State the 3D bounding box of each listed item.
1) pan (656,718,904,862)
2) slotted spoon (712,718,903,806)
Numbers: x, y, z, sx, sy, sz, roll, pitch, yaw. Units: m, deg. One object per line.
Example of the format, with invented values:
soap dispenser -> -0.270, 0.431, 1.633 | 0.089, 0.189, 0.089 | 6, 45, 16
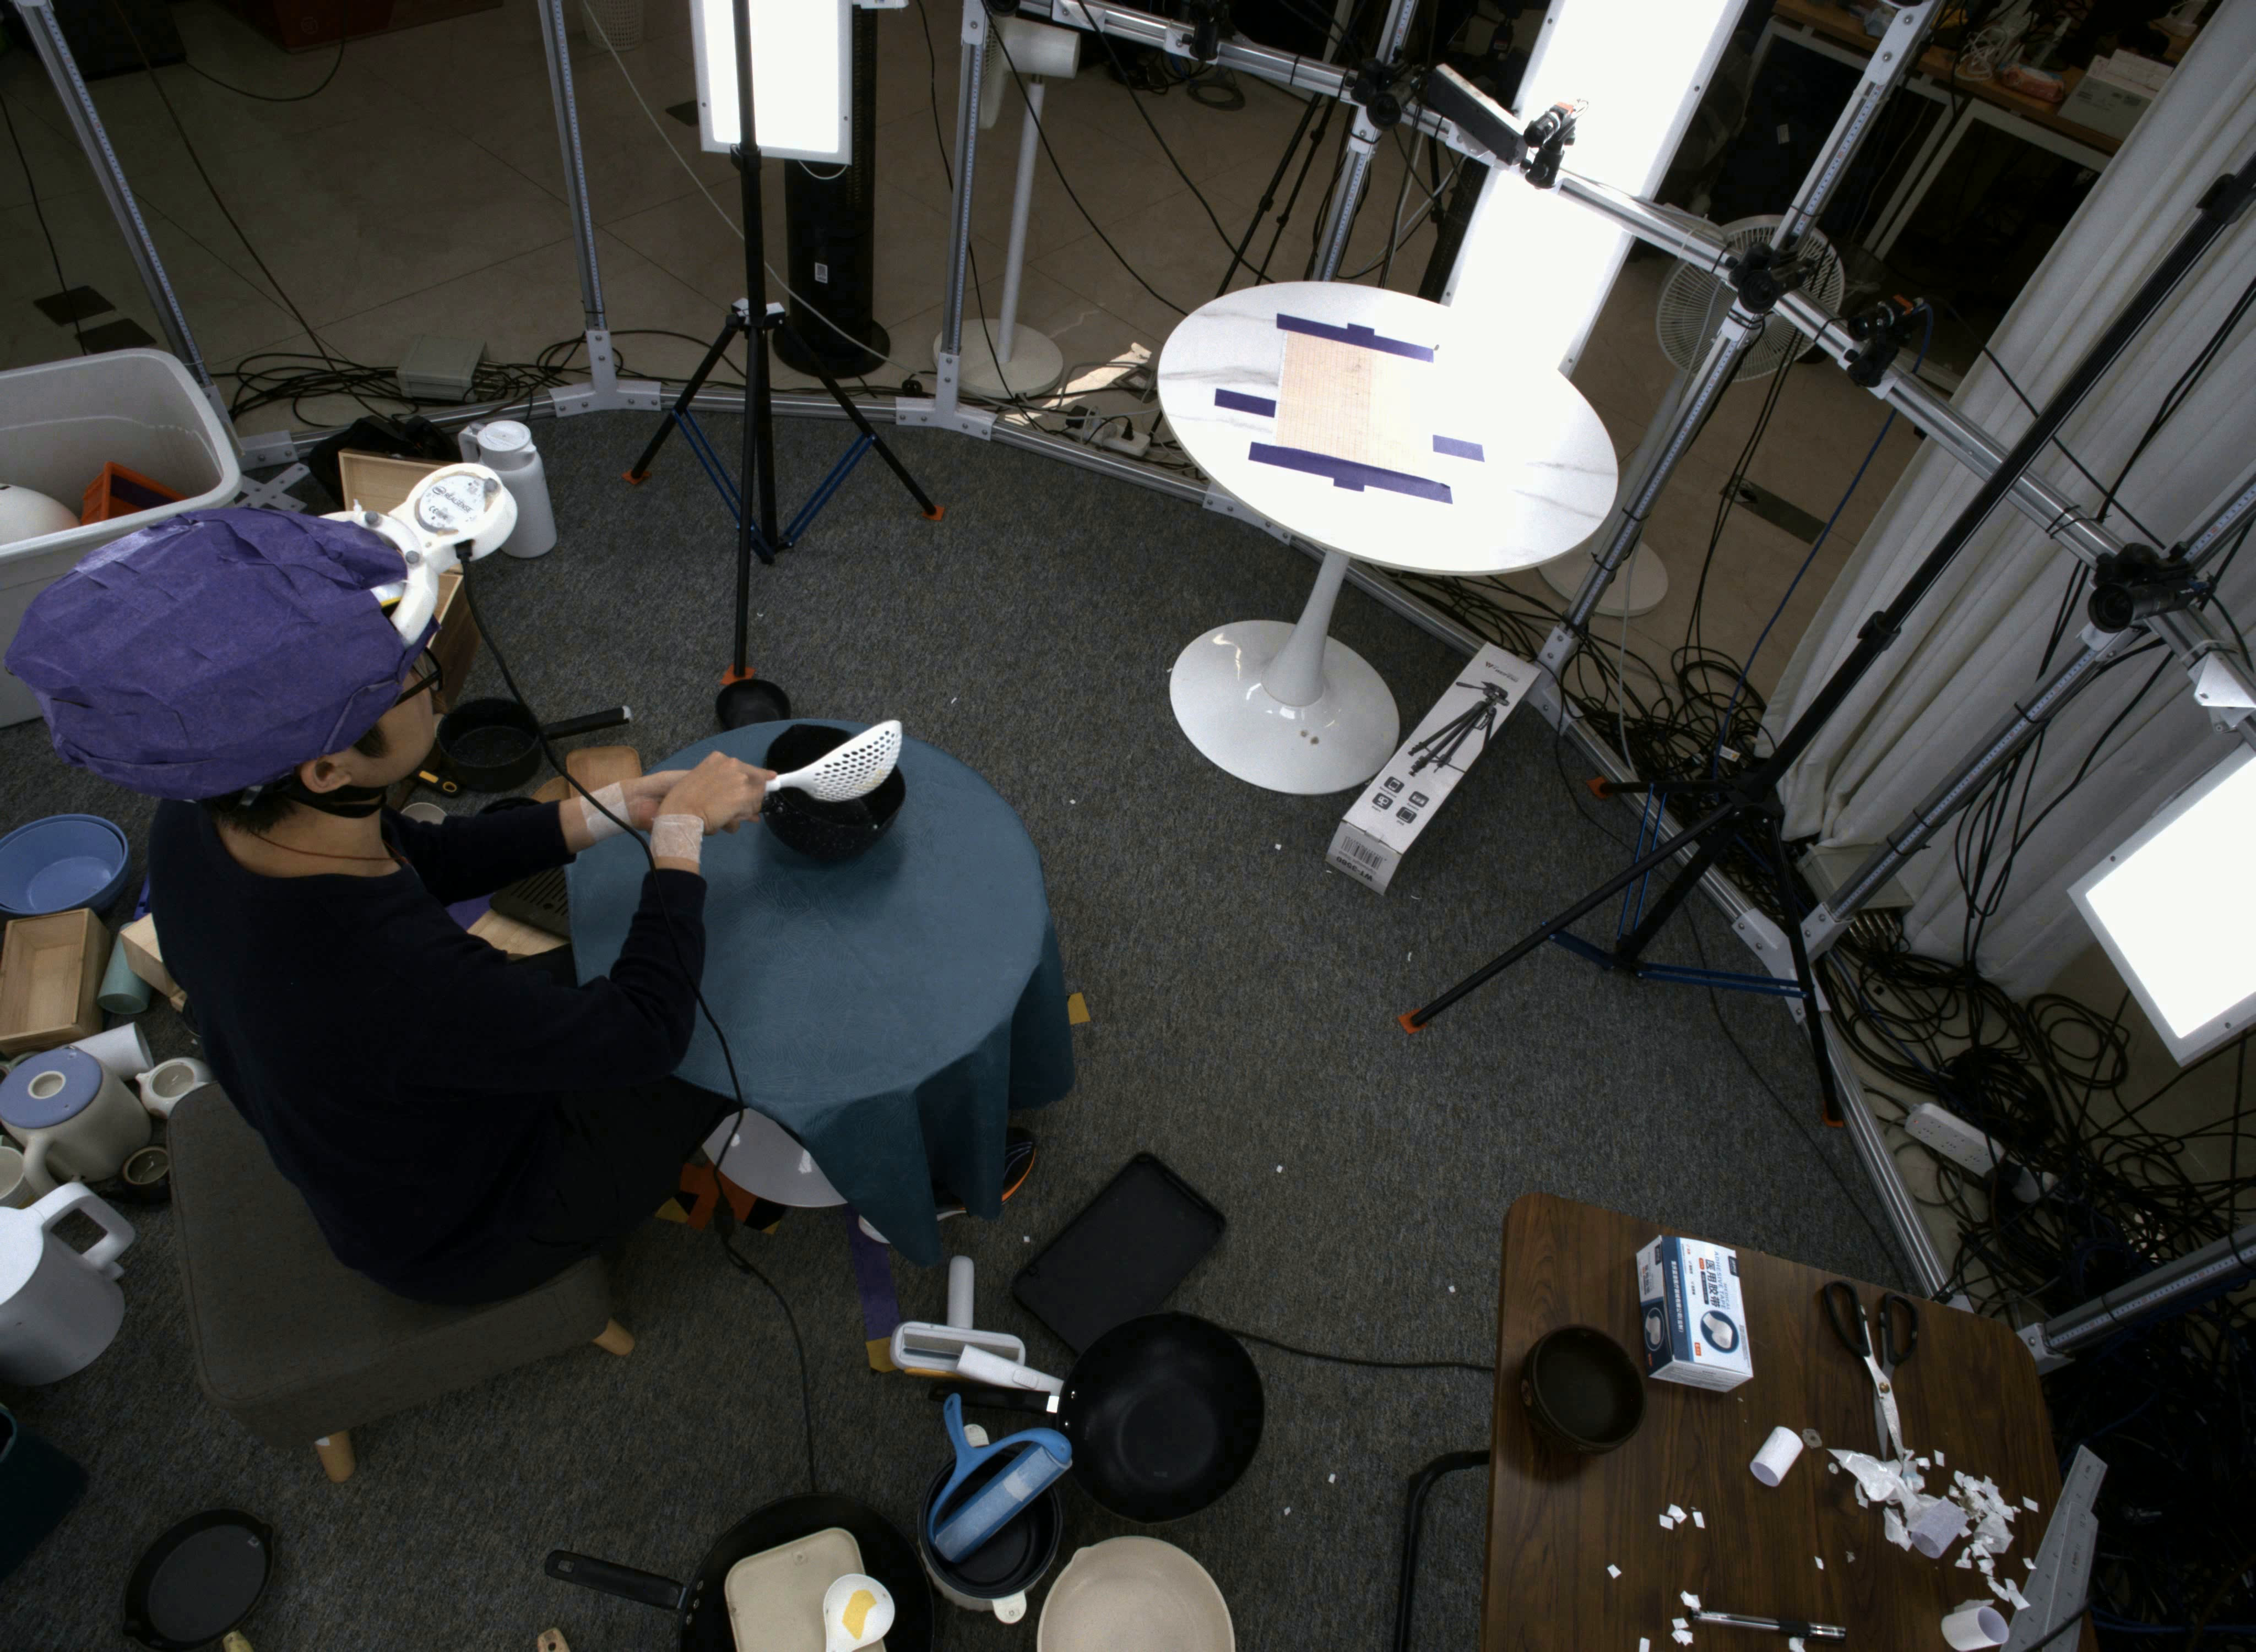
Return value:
pan -> -0.437, -0.027, 1.608 | 0.203, 0.109, 0.346 | 48, 39, 18
slotted spoon -> -0.384, -0.058, 1.560 | 0.049, 0.137, 0.352 | 46, 26, 16
